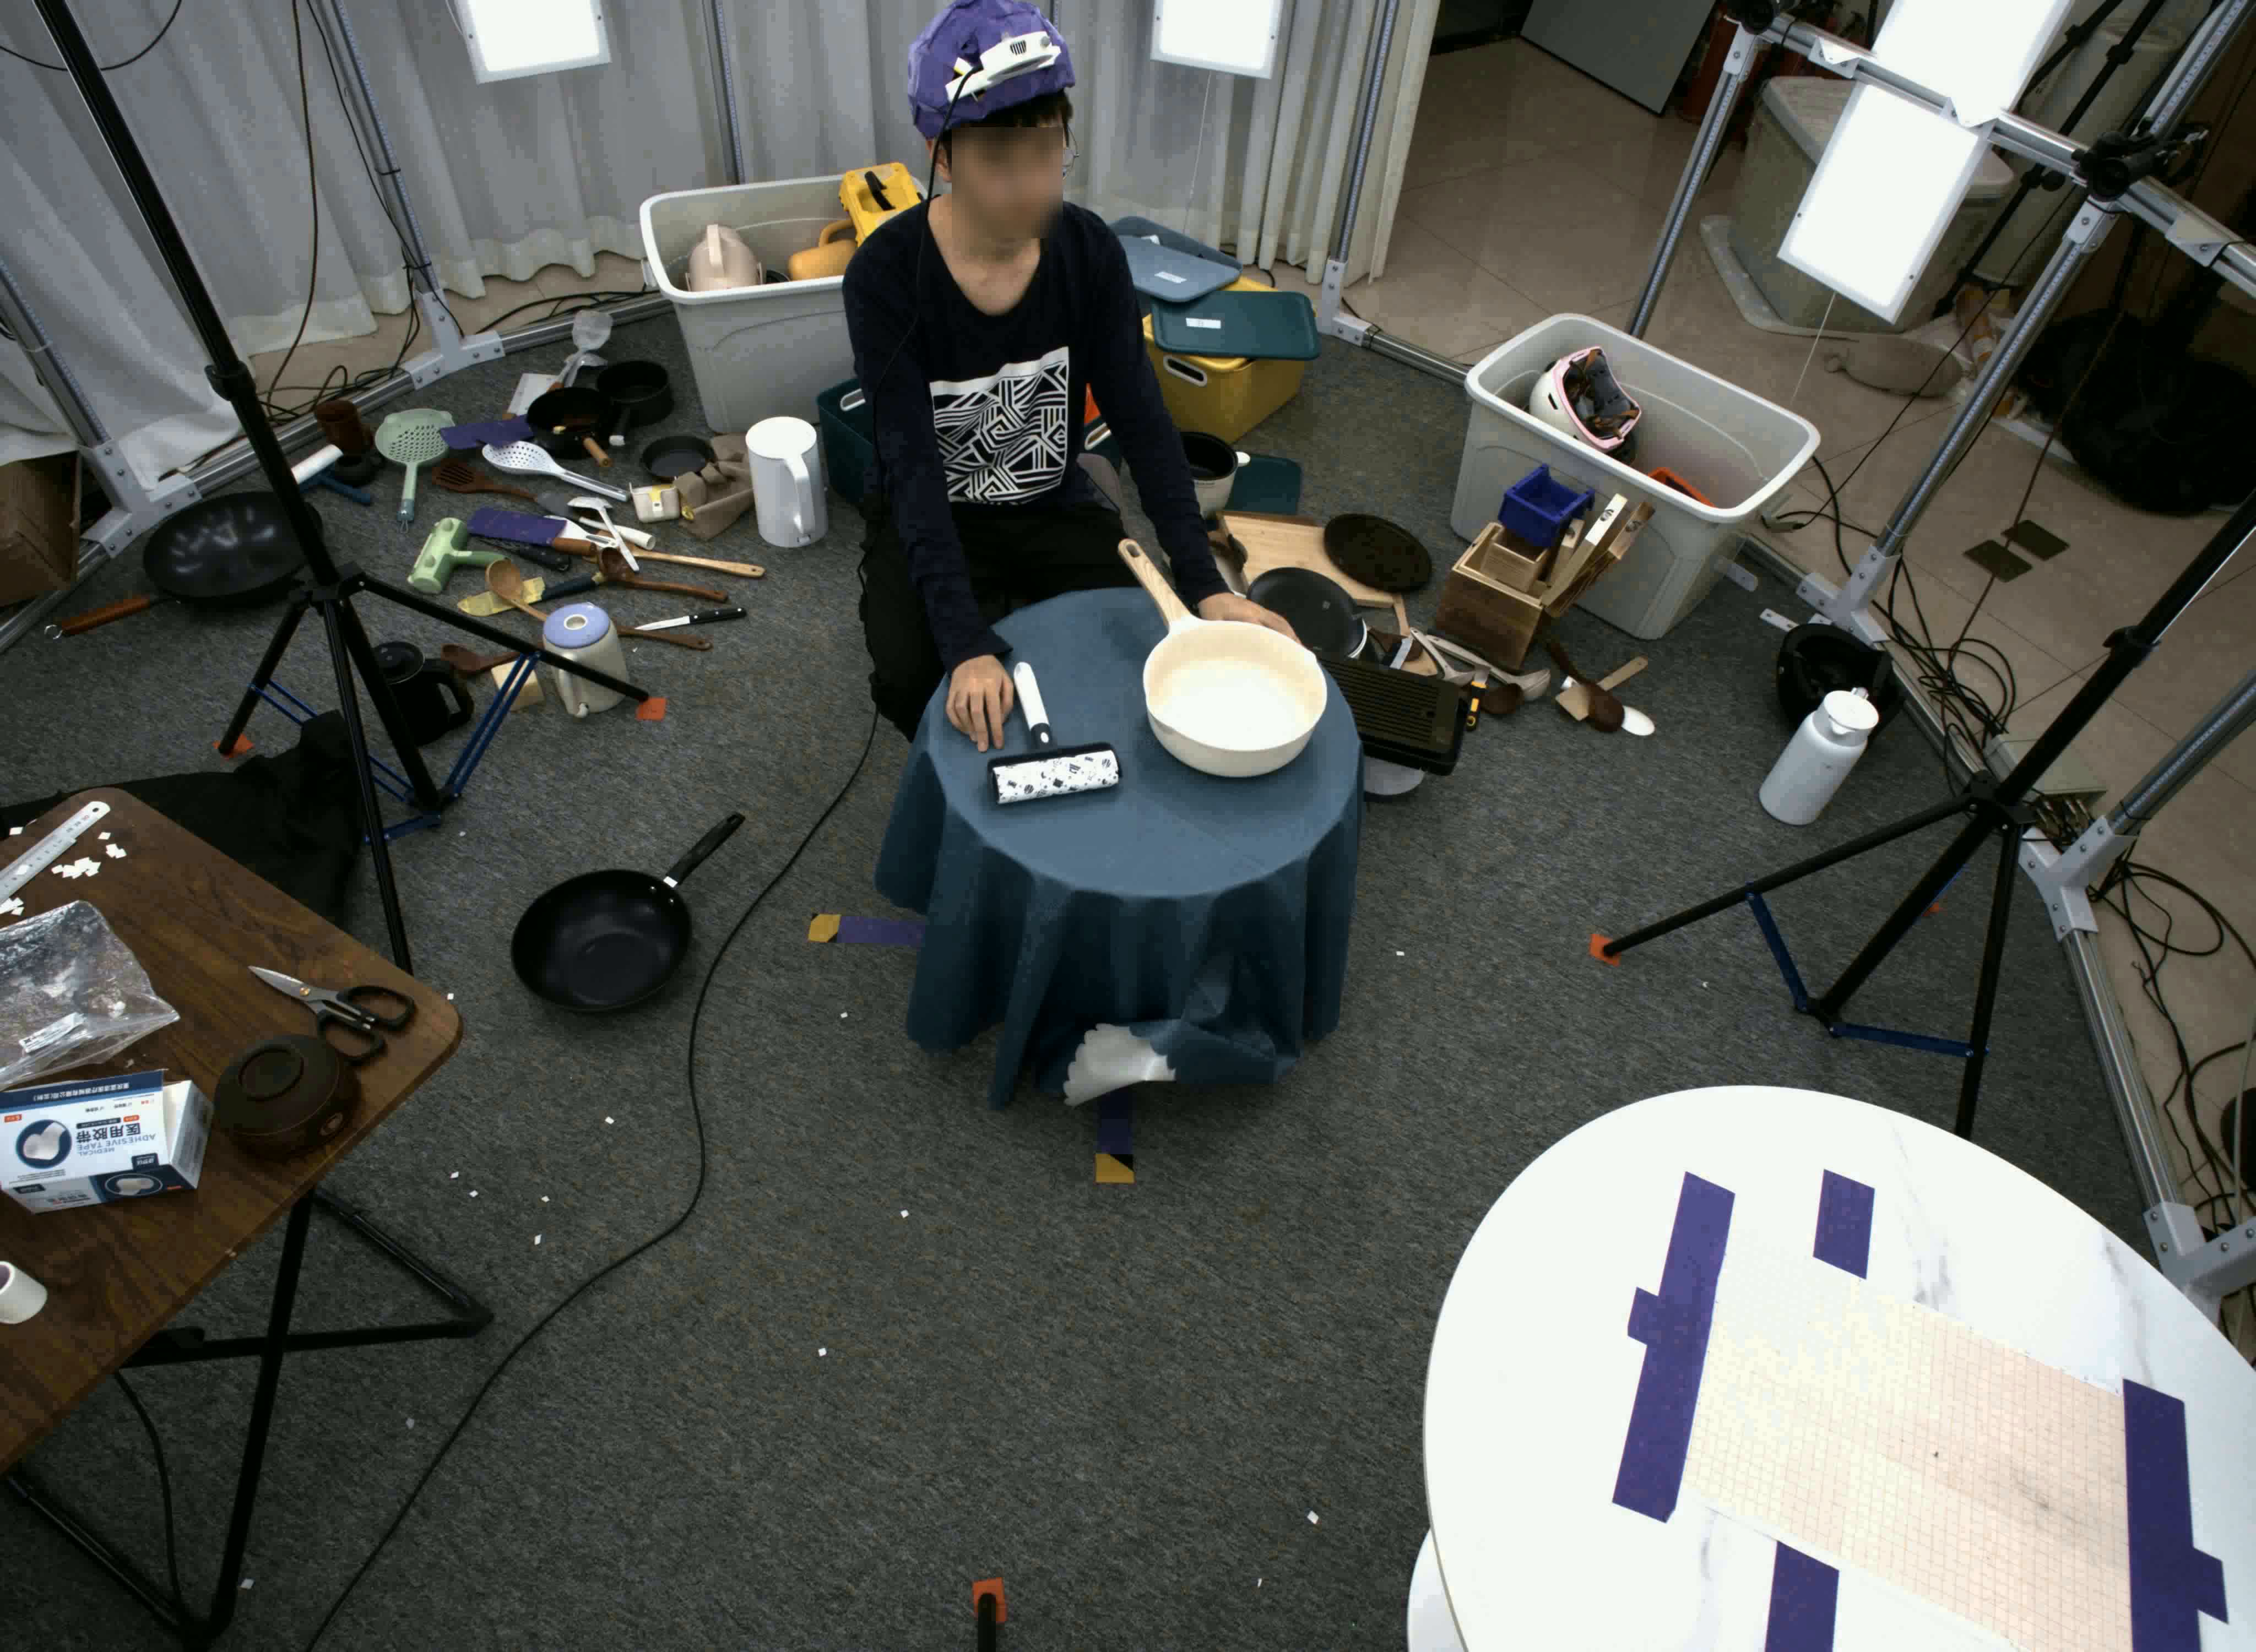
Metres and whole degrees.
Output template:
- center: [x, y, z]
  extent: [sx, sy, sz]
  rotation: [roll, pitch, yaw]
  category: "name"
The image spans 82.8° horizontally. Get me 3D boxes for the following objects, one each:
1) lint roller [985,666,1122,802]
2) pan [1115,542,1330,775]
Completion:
- center: [-0.124, -0.140, 1.754]
  extent: [0.176, 0.049, 0.253]
  rotation: [-10, 49, -11]
  category: "lint roller"
- center: [0.101, -0.240, 1.818]
  extent: [0.264, 0.099, 0.444]
  rotation: [-23, 54, -20]
  category: "pan"
